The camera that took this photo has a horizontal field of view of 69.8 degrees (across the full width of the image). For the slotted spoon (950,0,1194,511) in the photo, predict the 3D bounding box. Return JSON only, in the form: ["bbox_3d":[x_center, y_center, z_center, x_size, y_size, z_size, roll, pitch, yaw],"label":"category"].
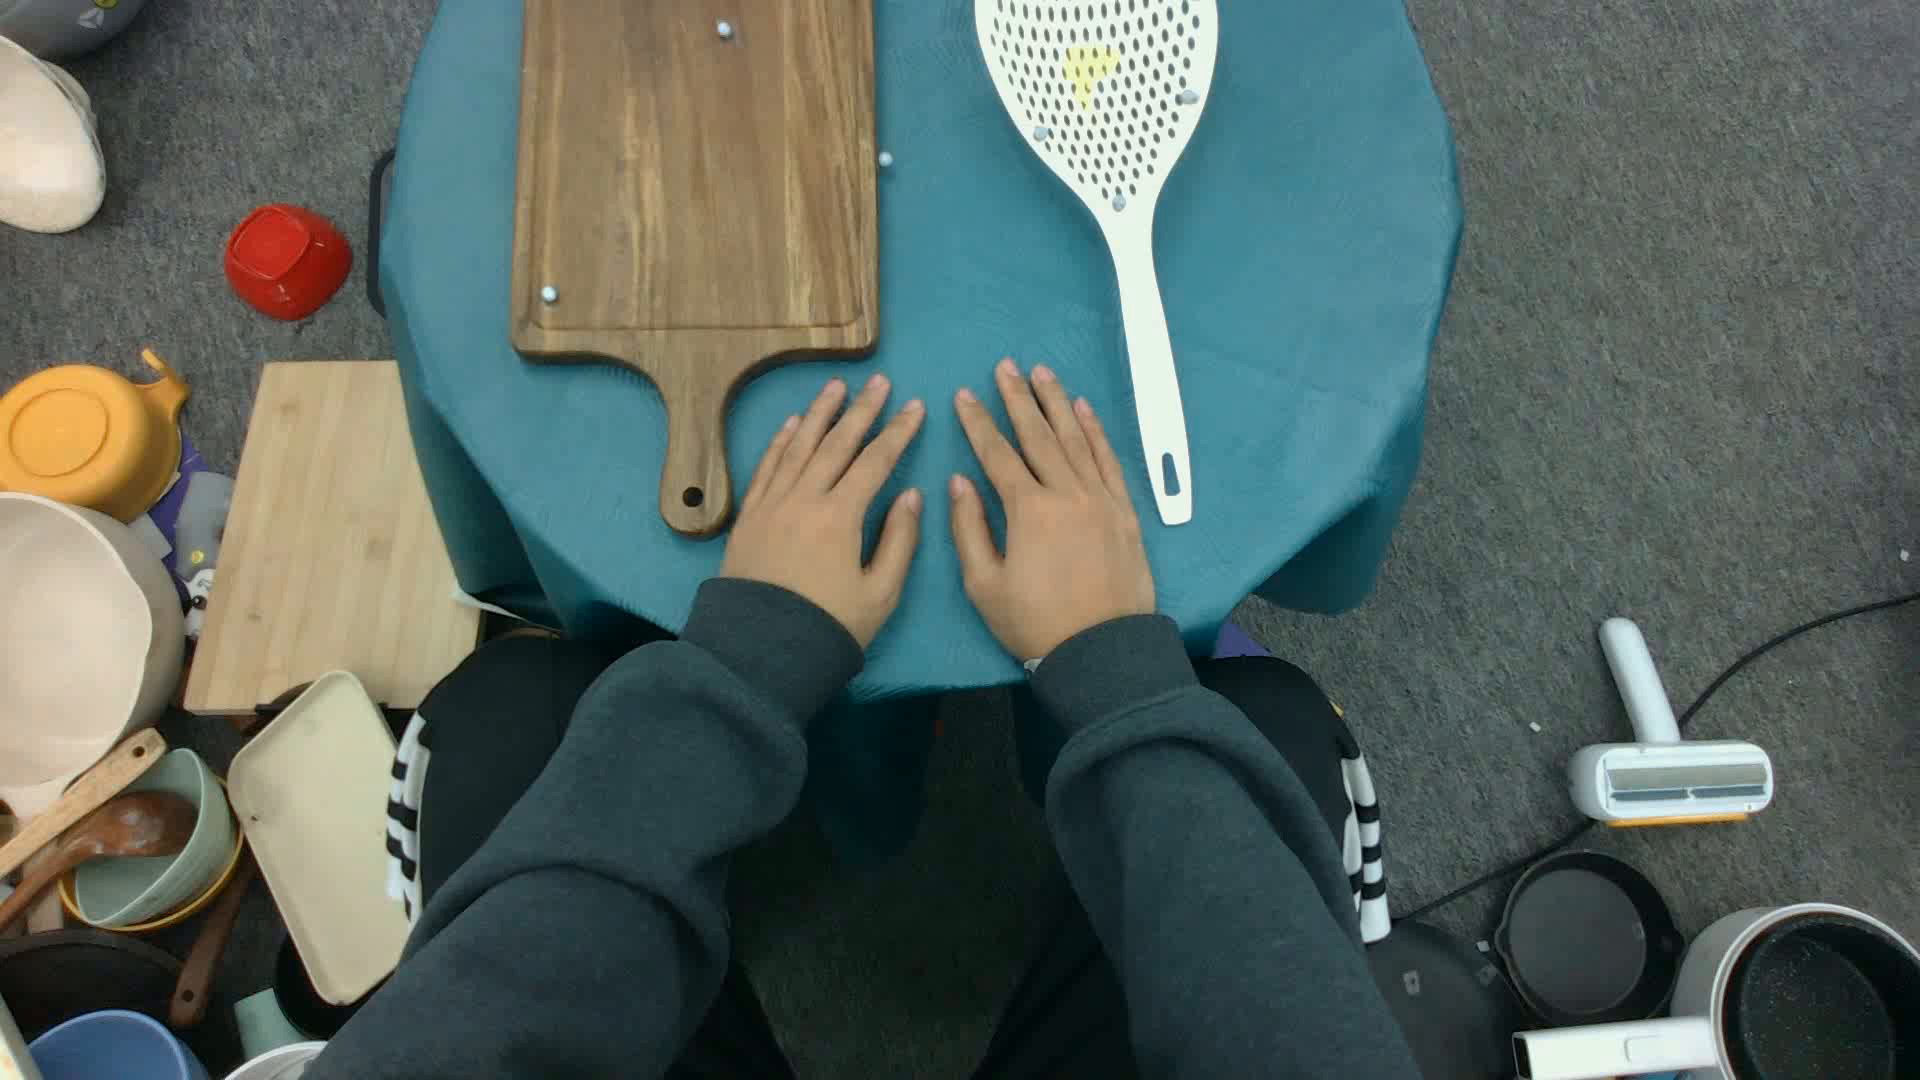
[{"bbox_3d":[0.080,-0.187,0.759,0.137,0.050,0.348,-8,77,-7],"label":"slotted spoon"}]

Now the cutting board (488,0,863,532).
[{"bbox_3d":[-0.156,-0.177,0.755,0.201,0.023,0.353,-2,76,-3],"label":"cutting board"}]
